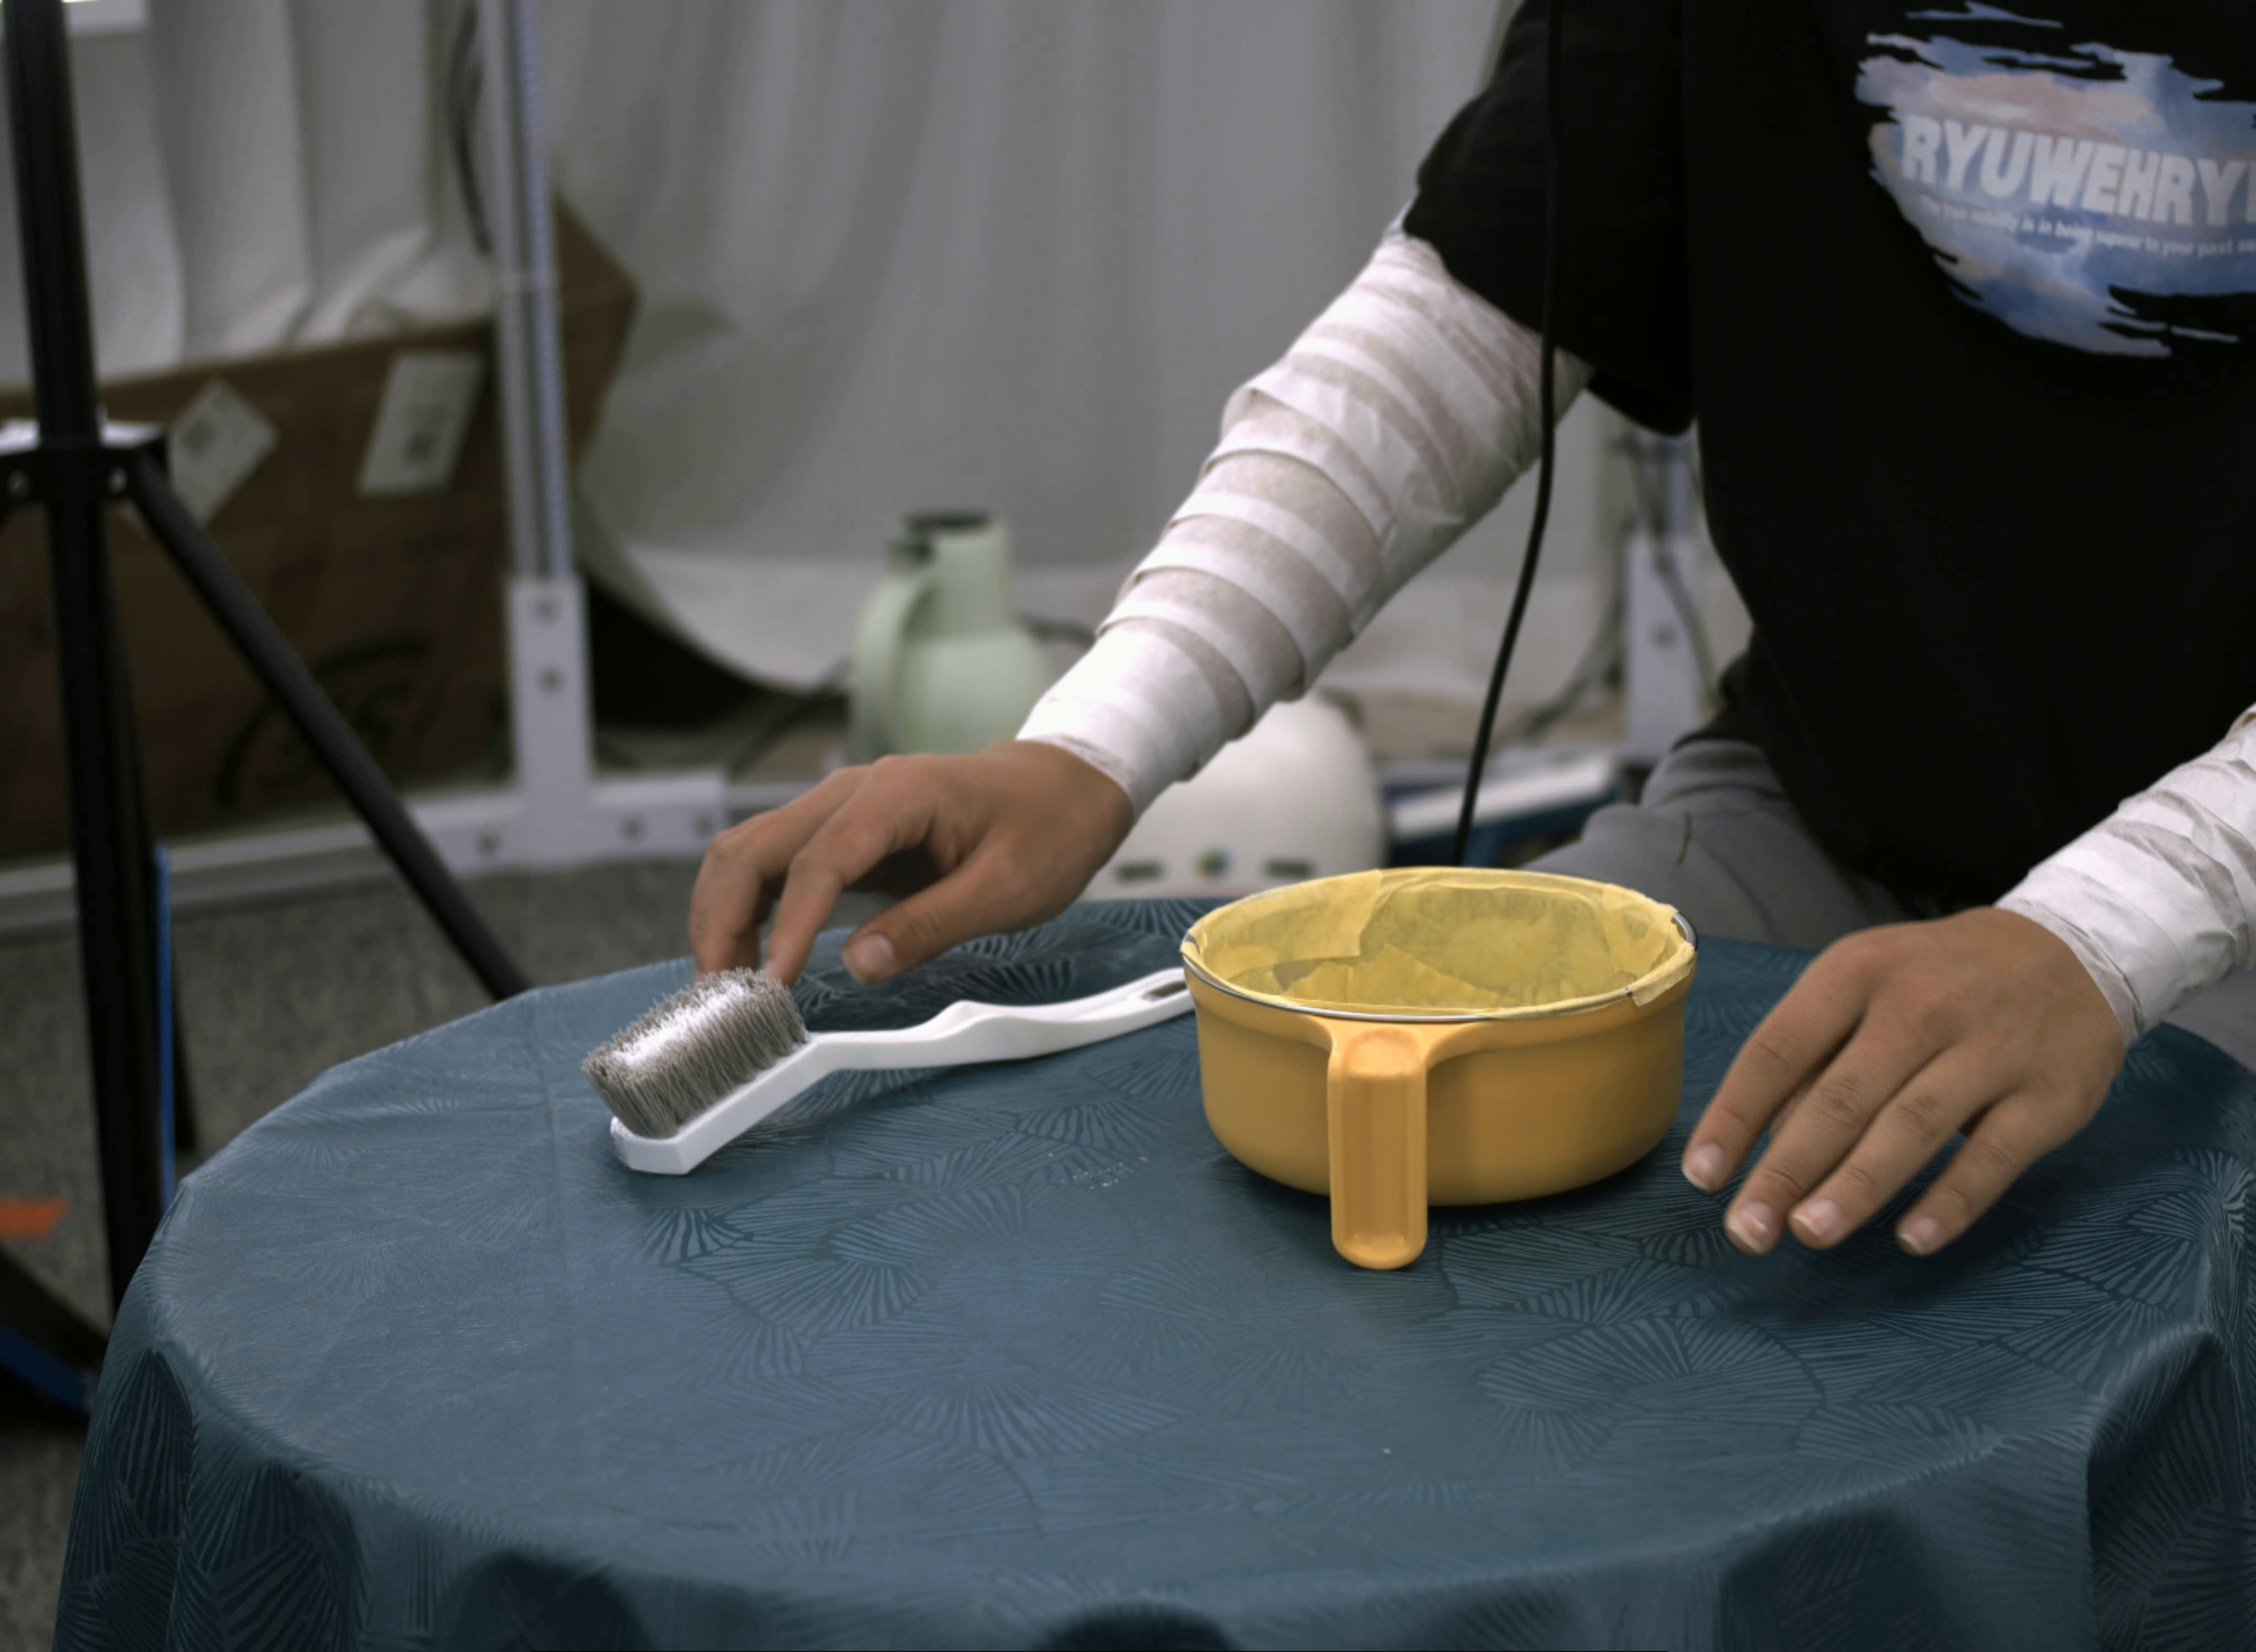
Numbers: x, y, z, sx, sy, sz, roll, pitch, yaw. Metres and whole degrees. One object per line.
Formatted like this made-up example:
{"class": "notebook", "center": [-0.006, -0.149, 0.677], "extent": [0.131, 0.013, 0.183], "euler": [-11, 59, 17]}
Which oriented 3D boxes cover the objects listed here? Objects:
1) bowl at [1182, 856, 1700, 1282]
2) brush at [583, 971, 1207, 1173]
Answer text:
{"class": "bowl", "center": [0.089, 0.068, 1.561], "extent": [0.153, 0.074, 0.178], "euler": [5, 18, 10]}
{"class": "brush", "center": [-0.063, 0.057, 1.658], "extent": [0.238, 0.050, 0.035], "euler": [-15, 18, -36]}
